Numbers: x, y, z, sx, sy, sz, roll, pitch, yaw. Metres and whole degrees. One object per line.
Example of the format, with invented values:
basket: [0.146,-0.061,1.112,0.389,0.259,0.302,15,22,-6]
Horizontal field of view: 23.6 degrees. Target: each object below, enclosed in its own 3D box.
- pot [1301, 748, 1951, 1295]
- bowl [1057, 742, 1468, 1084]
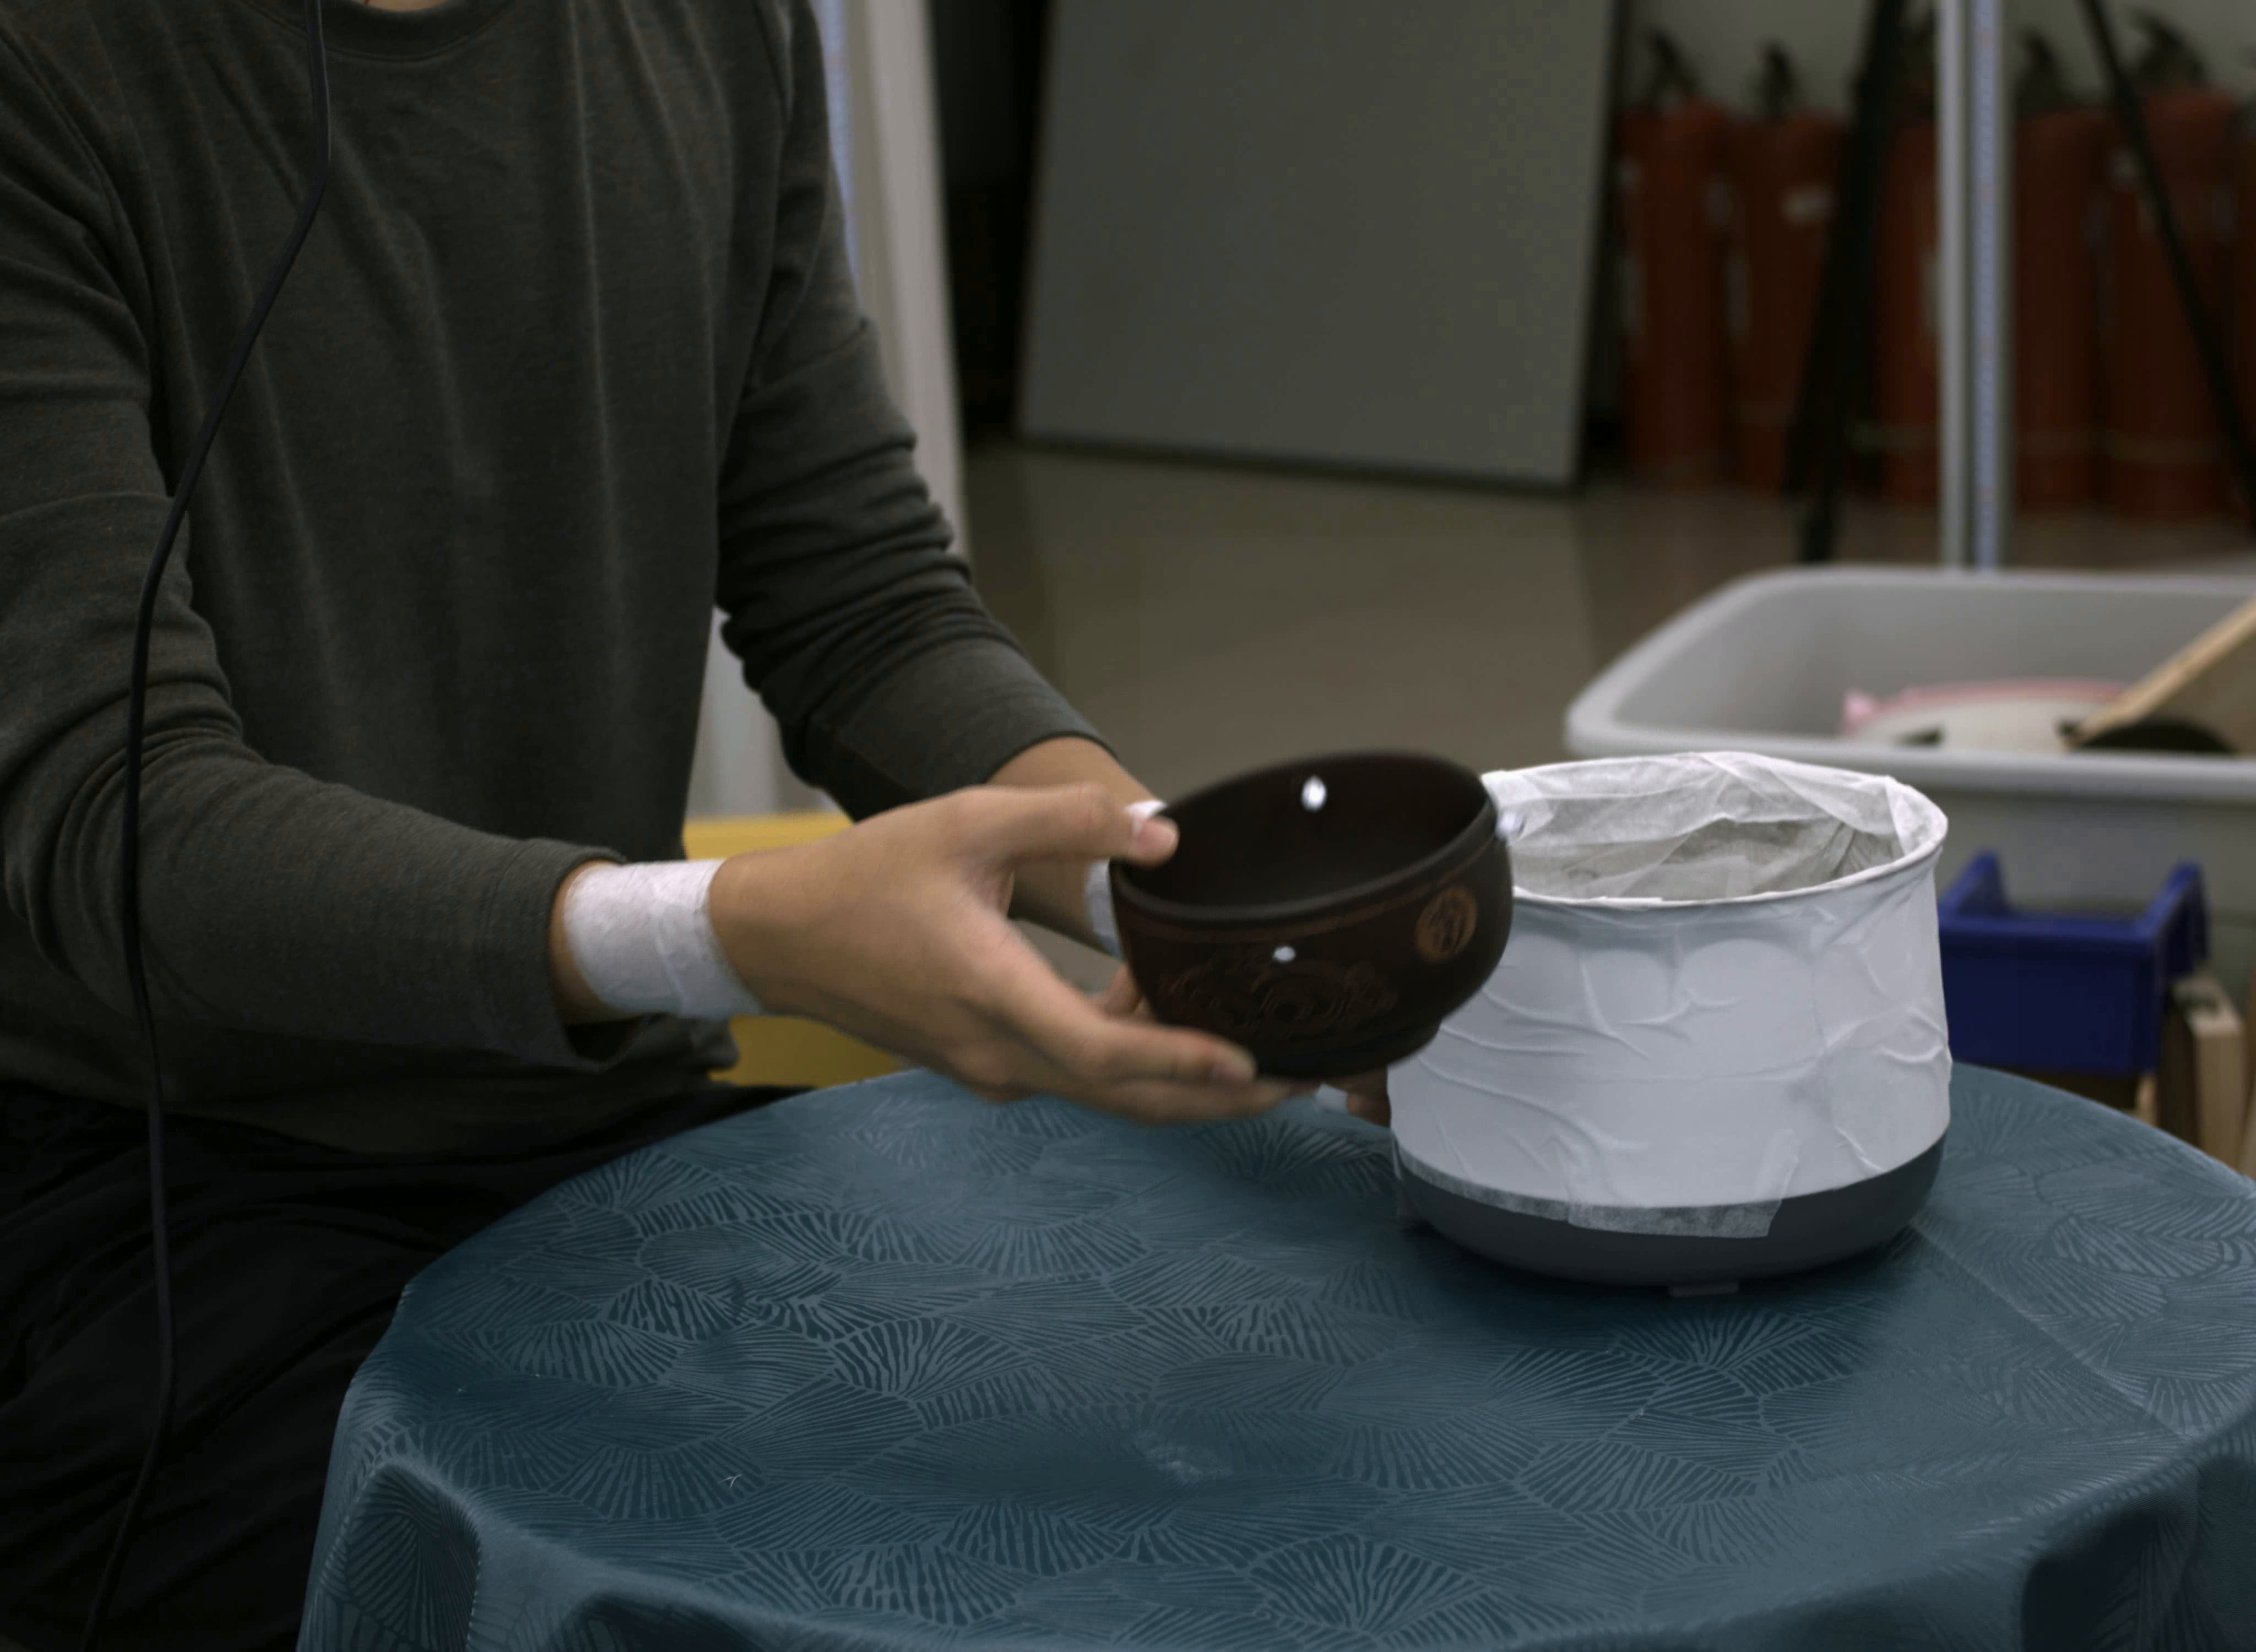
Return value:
pot: [0.148,0.056,1.702,0.235,0.138,0.175,9,17,41]
bowl: [0.044,0.031,1.548,0.117,0.070,0.118,-18,16,5]
